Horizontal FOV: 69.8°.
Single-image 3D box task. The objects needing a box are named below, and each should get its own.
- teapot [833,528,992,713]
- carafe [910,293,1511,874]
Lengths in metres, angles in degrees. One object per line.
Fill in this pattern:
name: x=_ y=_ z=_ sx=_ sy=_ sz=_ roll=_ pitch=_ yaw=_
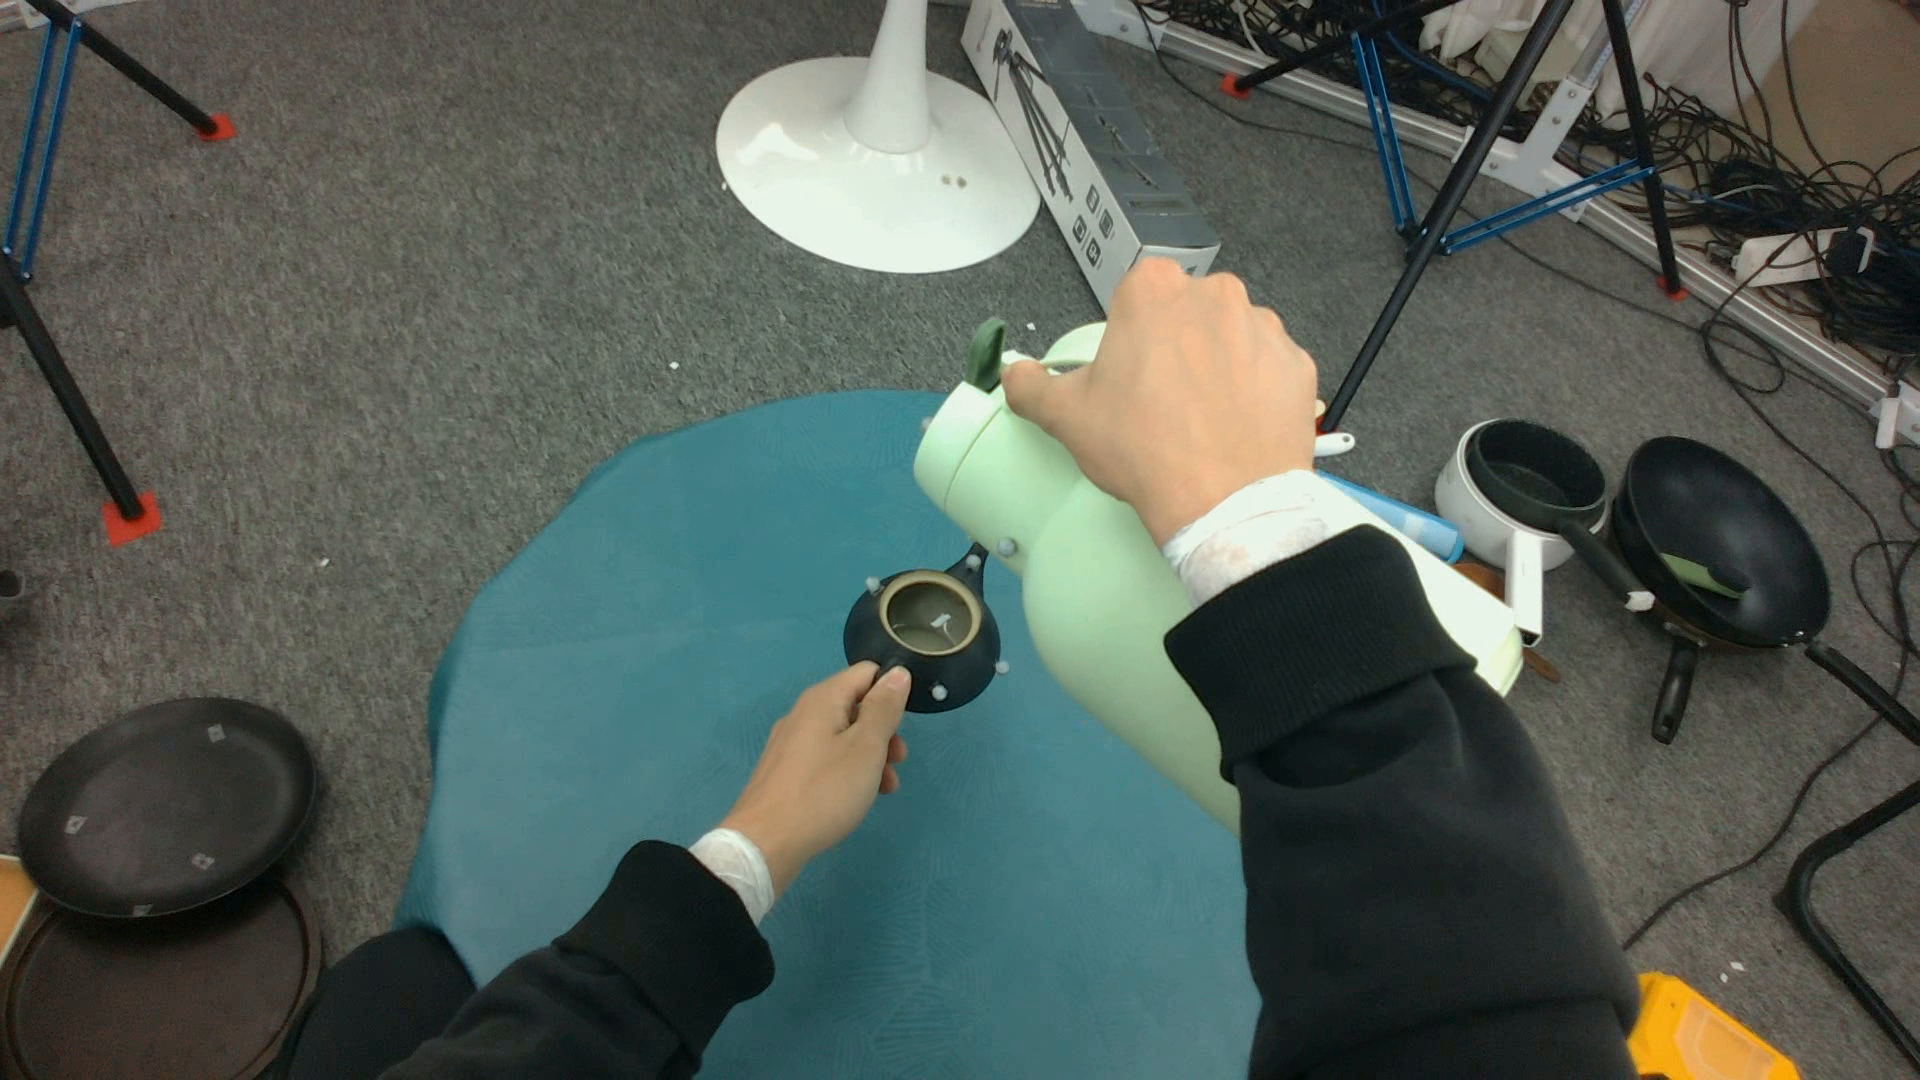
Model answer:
teapot: x=-0.026 y=0.049 z=0.779 sx=0.091 sy=0.053 sz=0.134 roll=27 pitch=49 yaw=11
carafe: x=0.096 y=0.004 z=0.583 sx=0.257 sy=0.186 sz=0.145 roll=41 pitch=59 yaw=13
